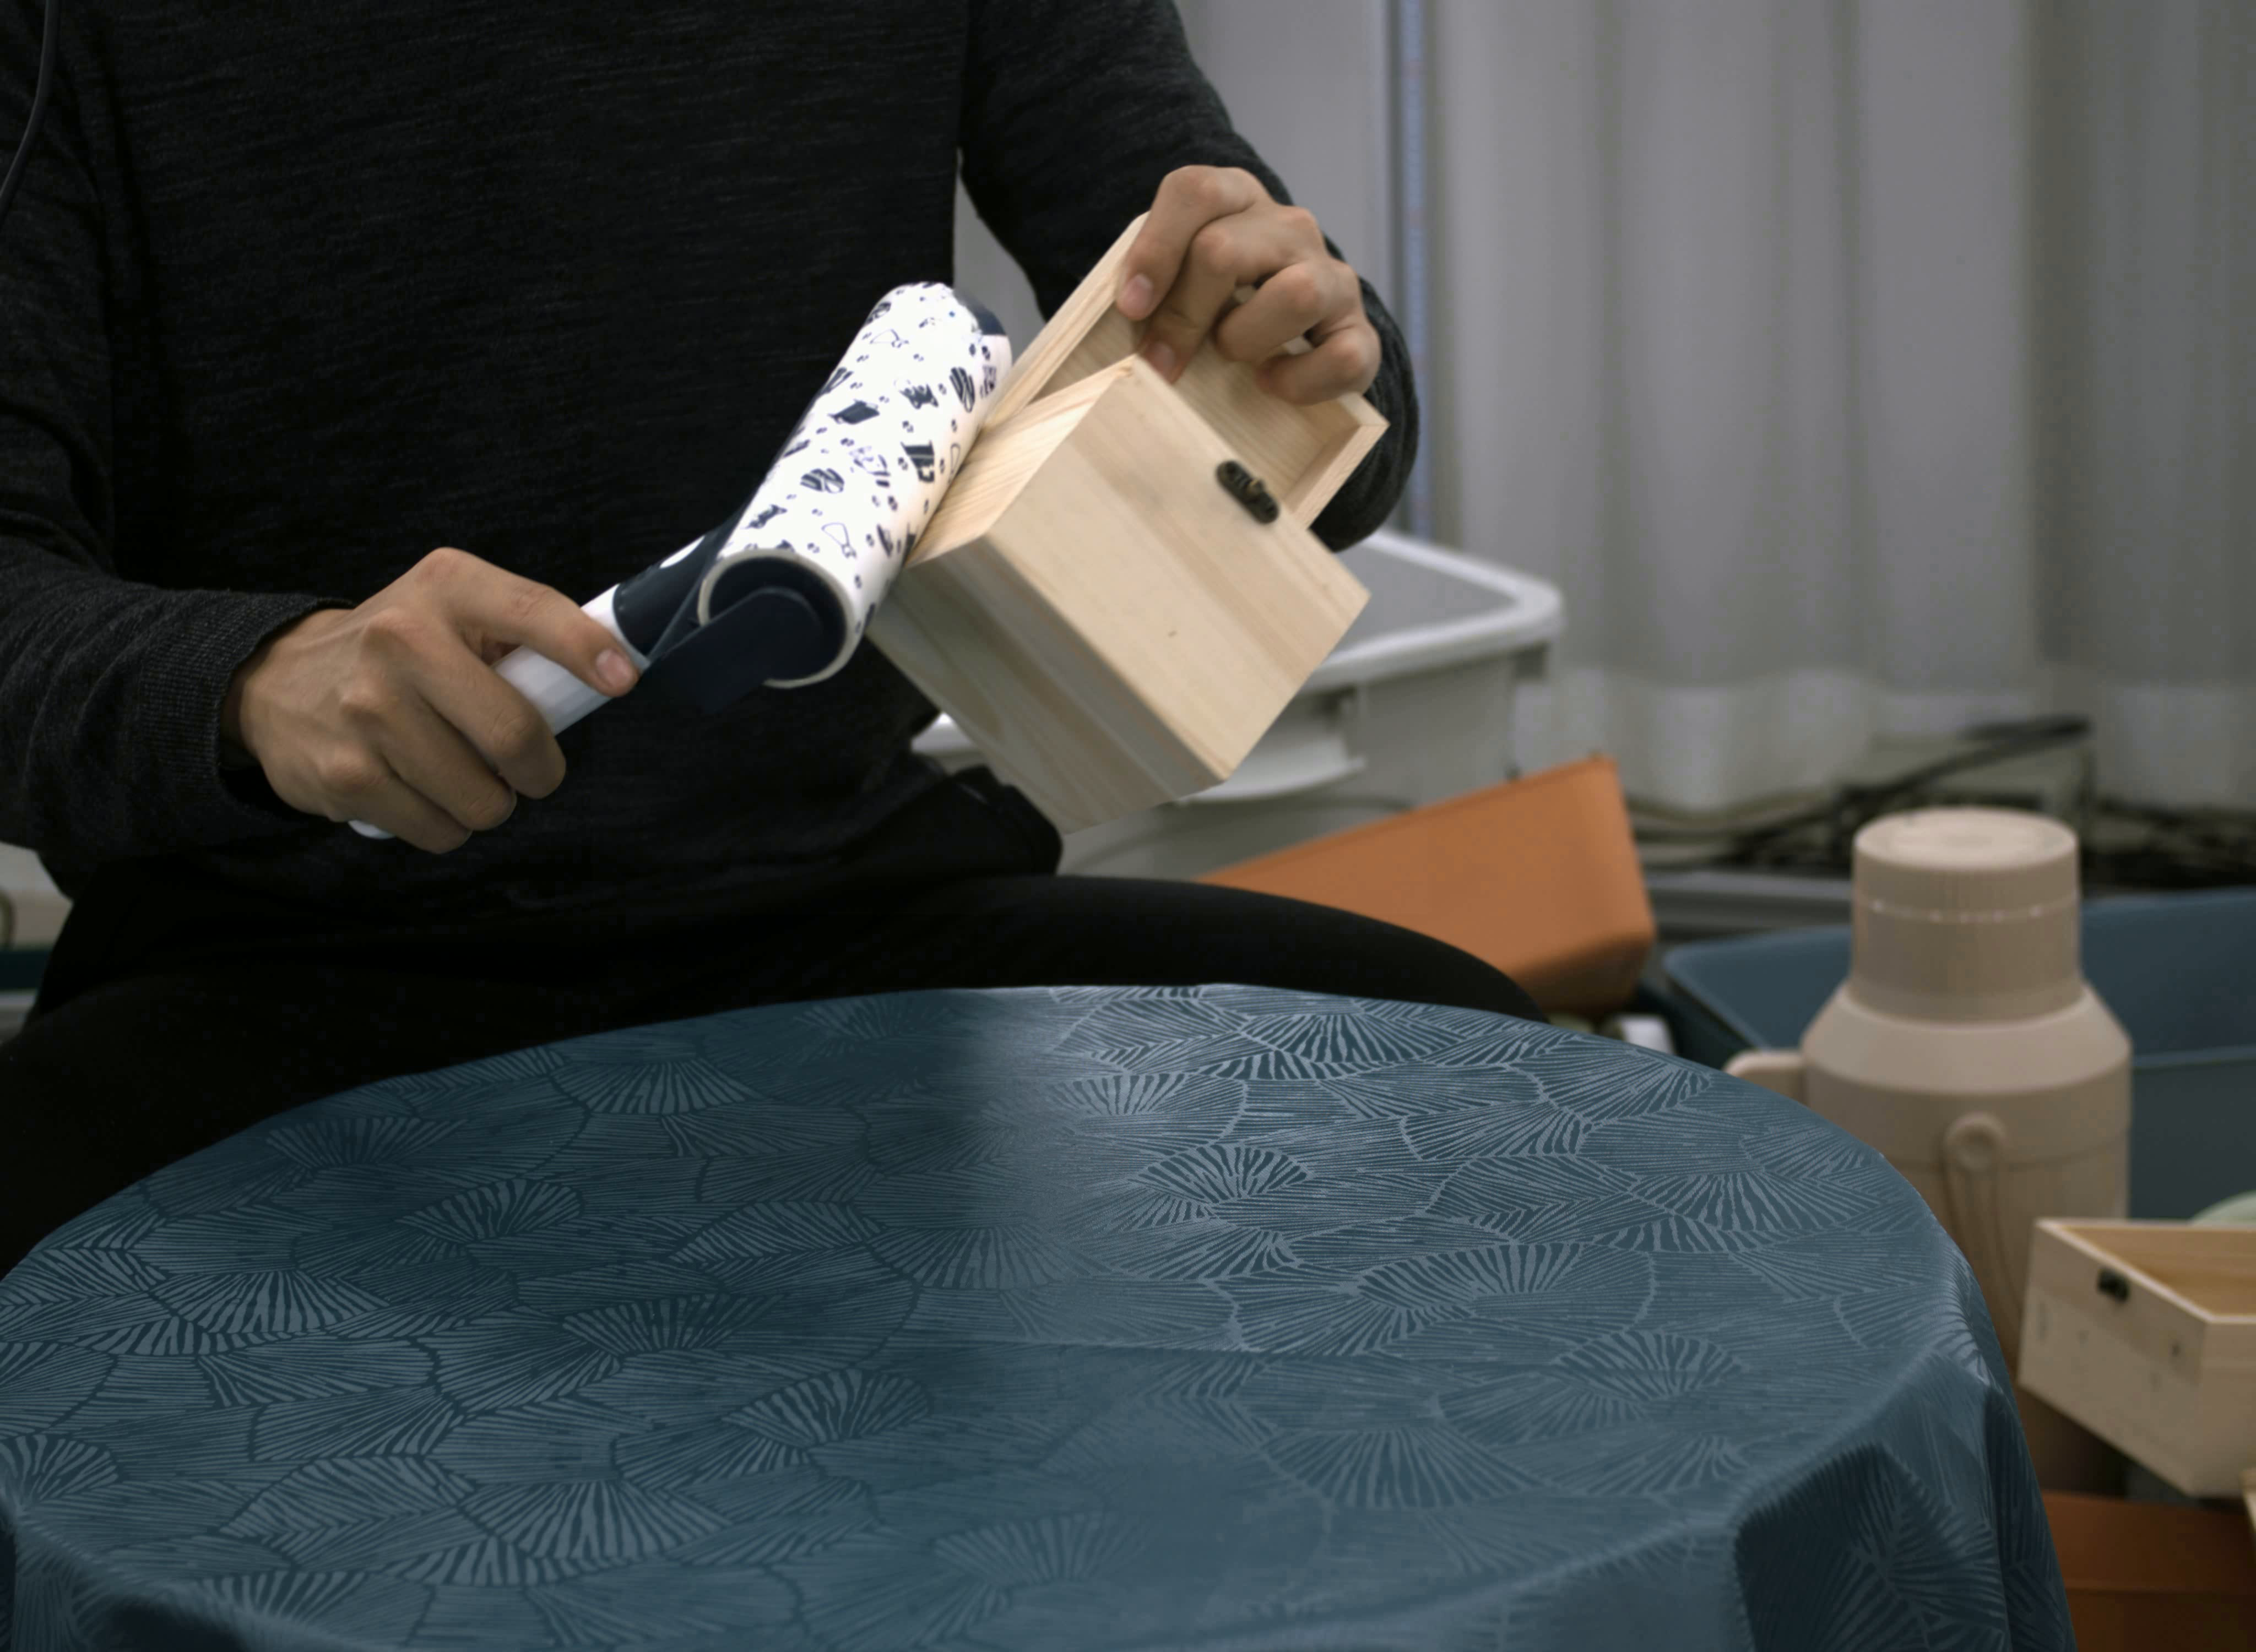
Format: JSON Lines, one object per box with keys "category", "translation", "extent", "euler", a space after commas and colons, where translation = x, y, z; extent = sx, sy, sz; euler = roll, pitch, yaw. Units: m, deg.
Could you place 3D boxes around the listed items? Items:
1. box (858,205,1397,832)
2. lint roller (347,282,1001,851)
{"category": "box", "translation": [0.019, -0.103, 1.633], "extent": [0.186, 0.102, 0.133], "euler": [-51, 15, -27]}
{"category": "lint roller", "translation": [-0.154, -0.059, 1.649], "extent": [0.246, 0.050, 0.178], "euler": [-29, 21, 30]}
